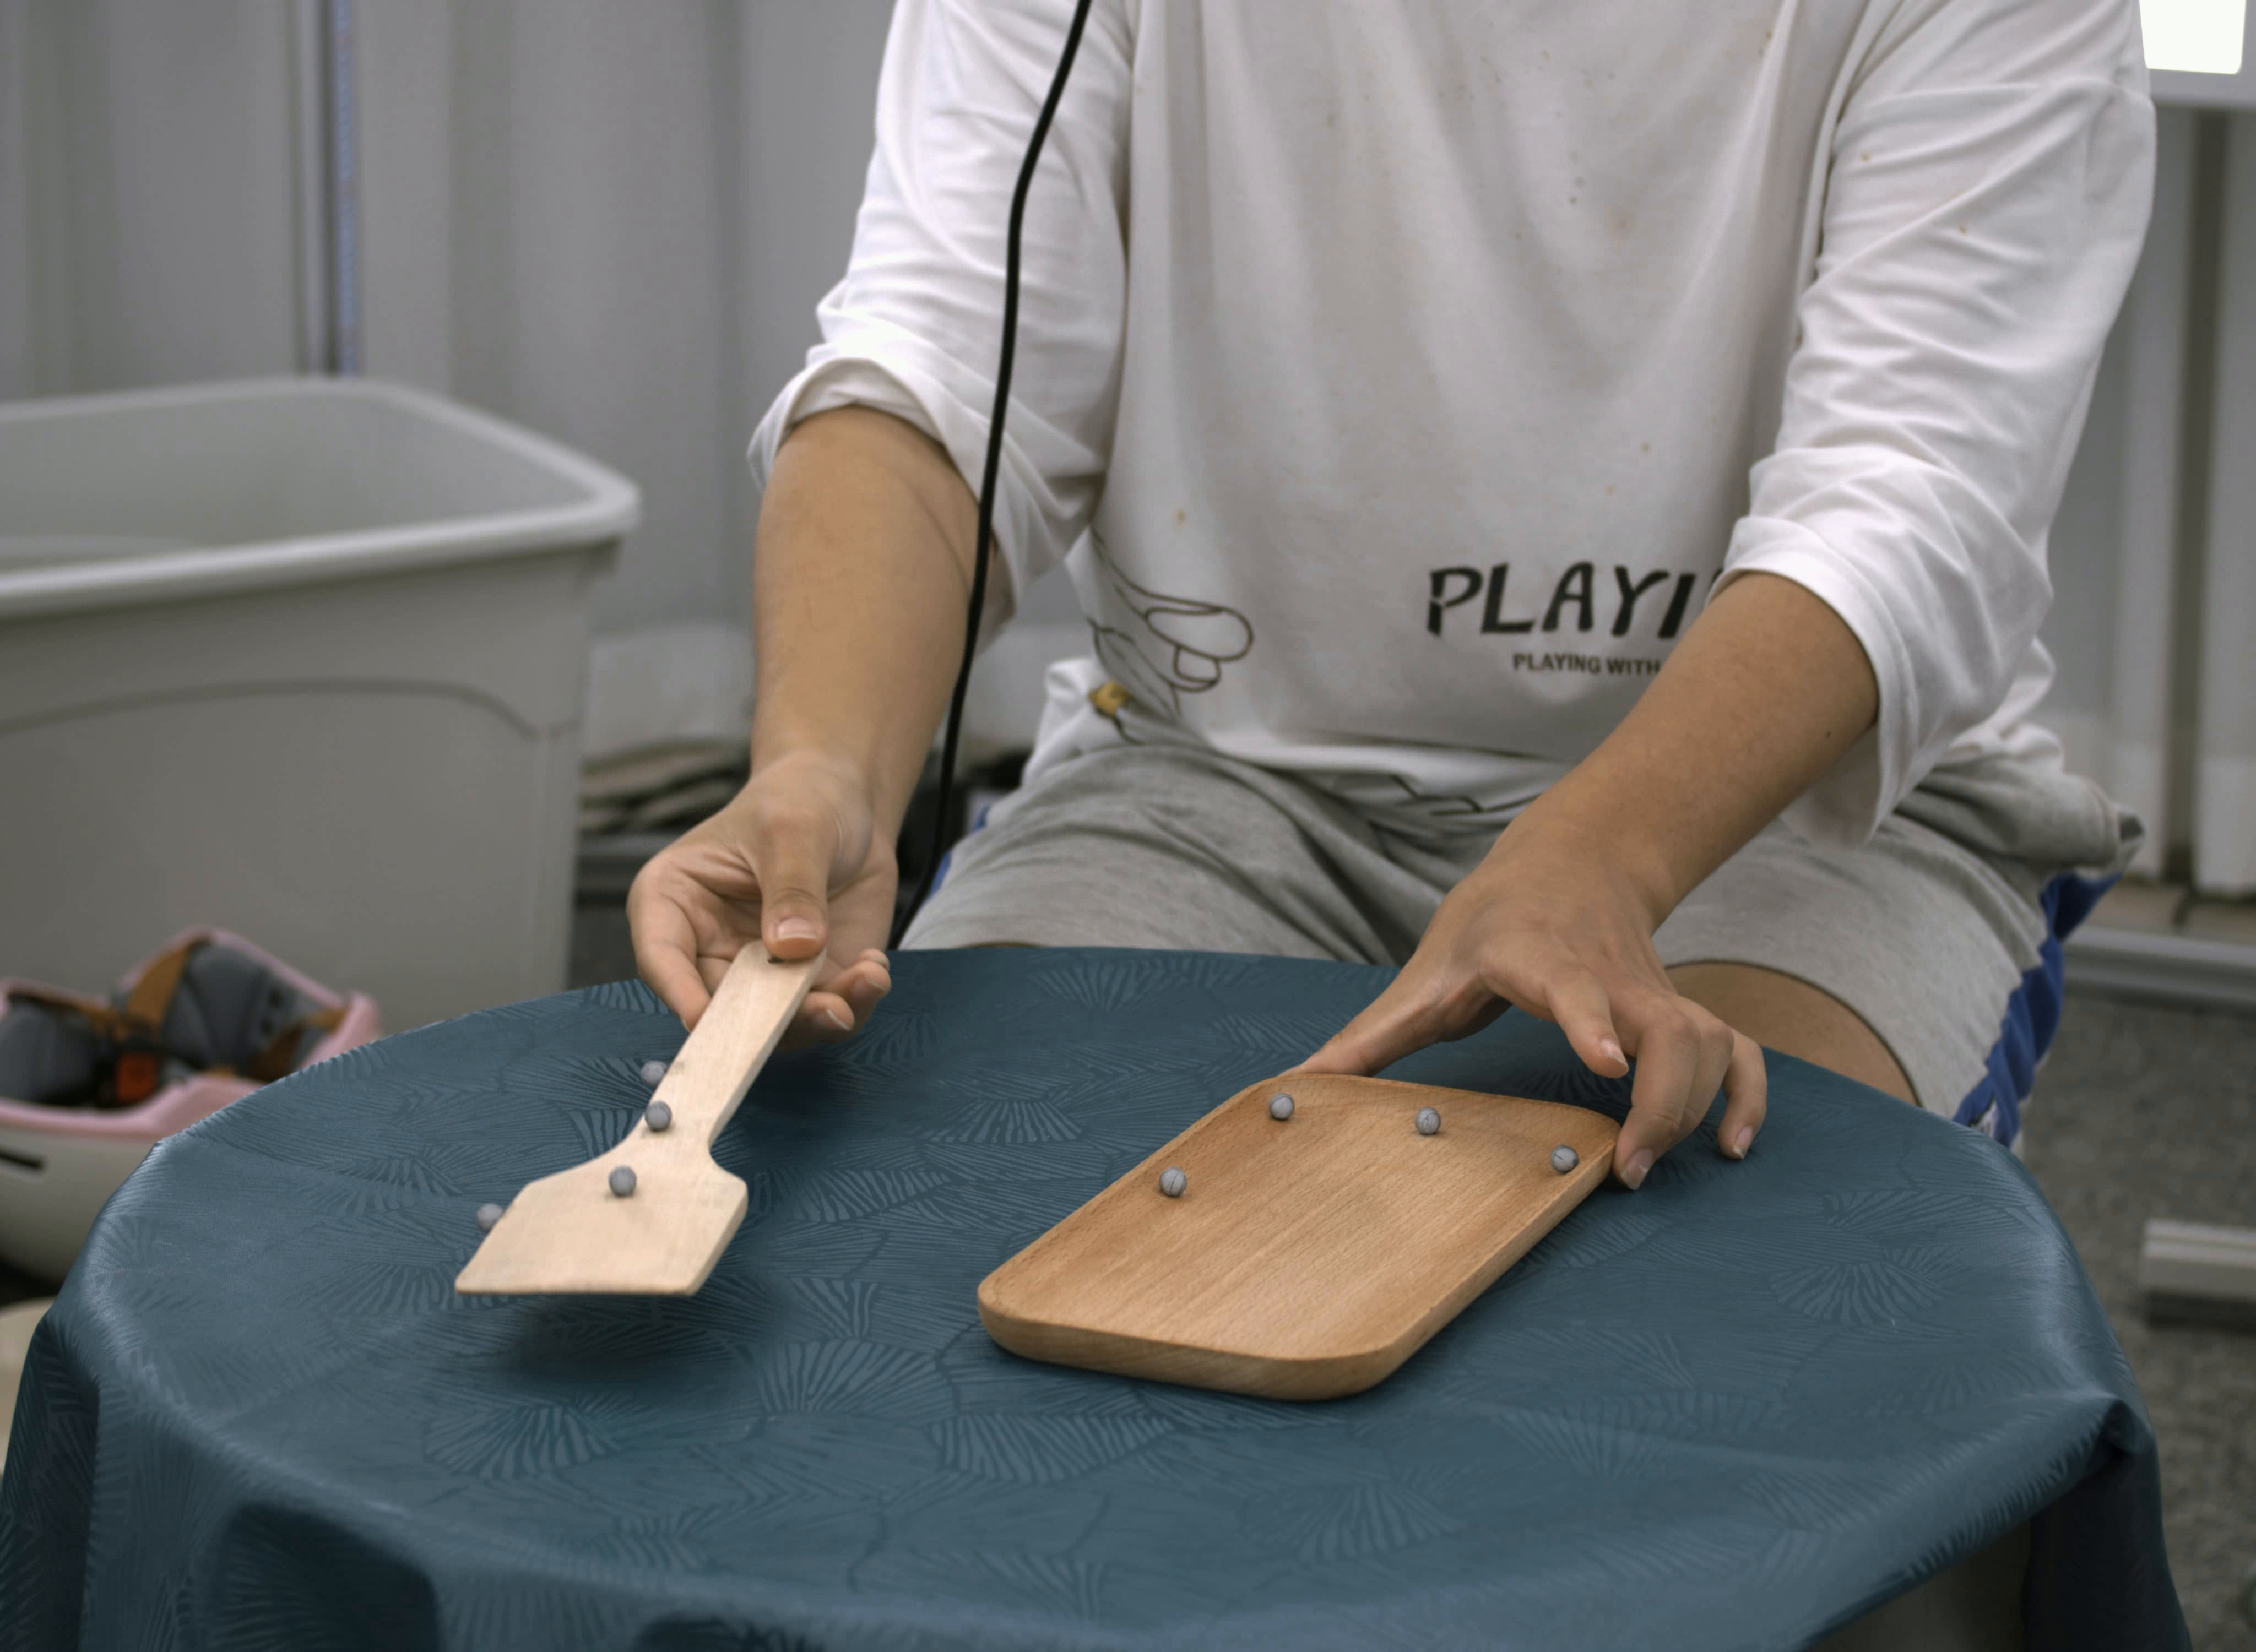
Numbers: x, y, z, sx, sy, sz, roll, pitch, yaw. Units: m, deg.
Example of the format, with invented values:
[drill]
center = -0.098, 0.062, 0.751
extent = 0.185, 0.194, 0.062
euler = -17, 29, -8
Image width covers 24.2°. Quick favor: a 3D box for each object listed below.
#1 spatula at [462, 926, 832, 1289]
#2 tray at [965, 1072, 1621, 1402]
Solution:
[spatula]
center = -0.133, 0.083, 1.598
extent = 0.072, 0.011, 0.292
euler = -1, 19, 9
[tray]
center = 0.054, 0.120, 1.576
extent = 0.129, 0.023, 0.251
euler = 5, 16, 24
